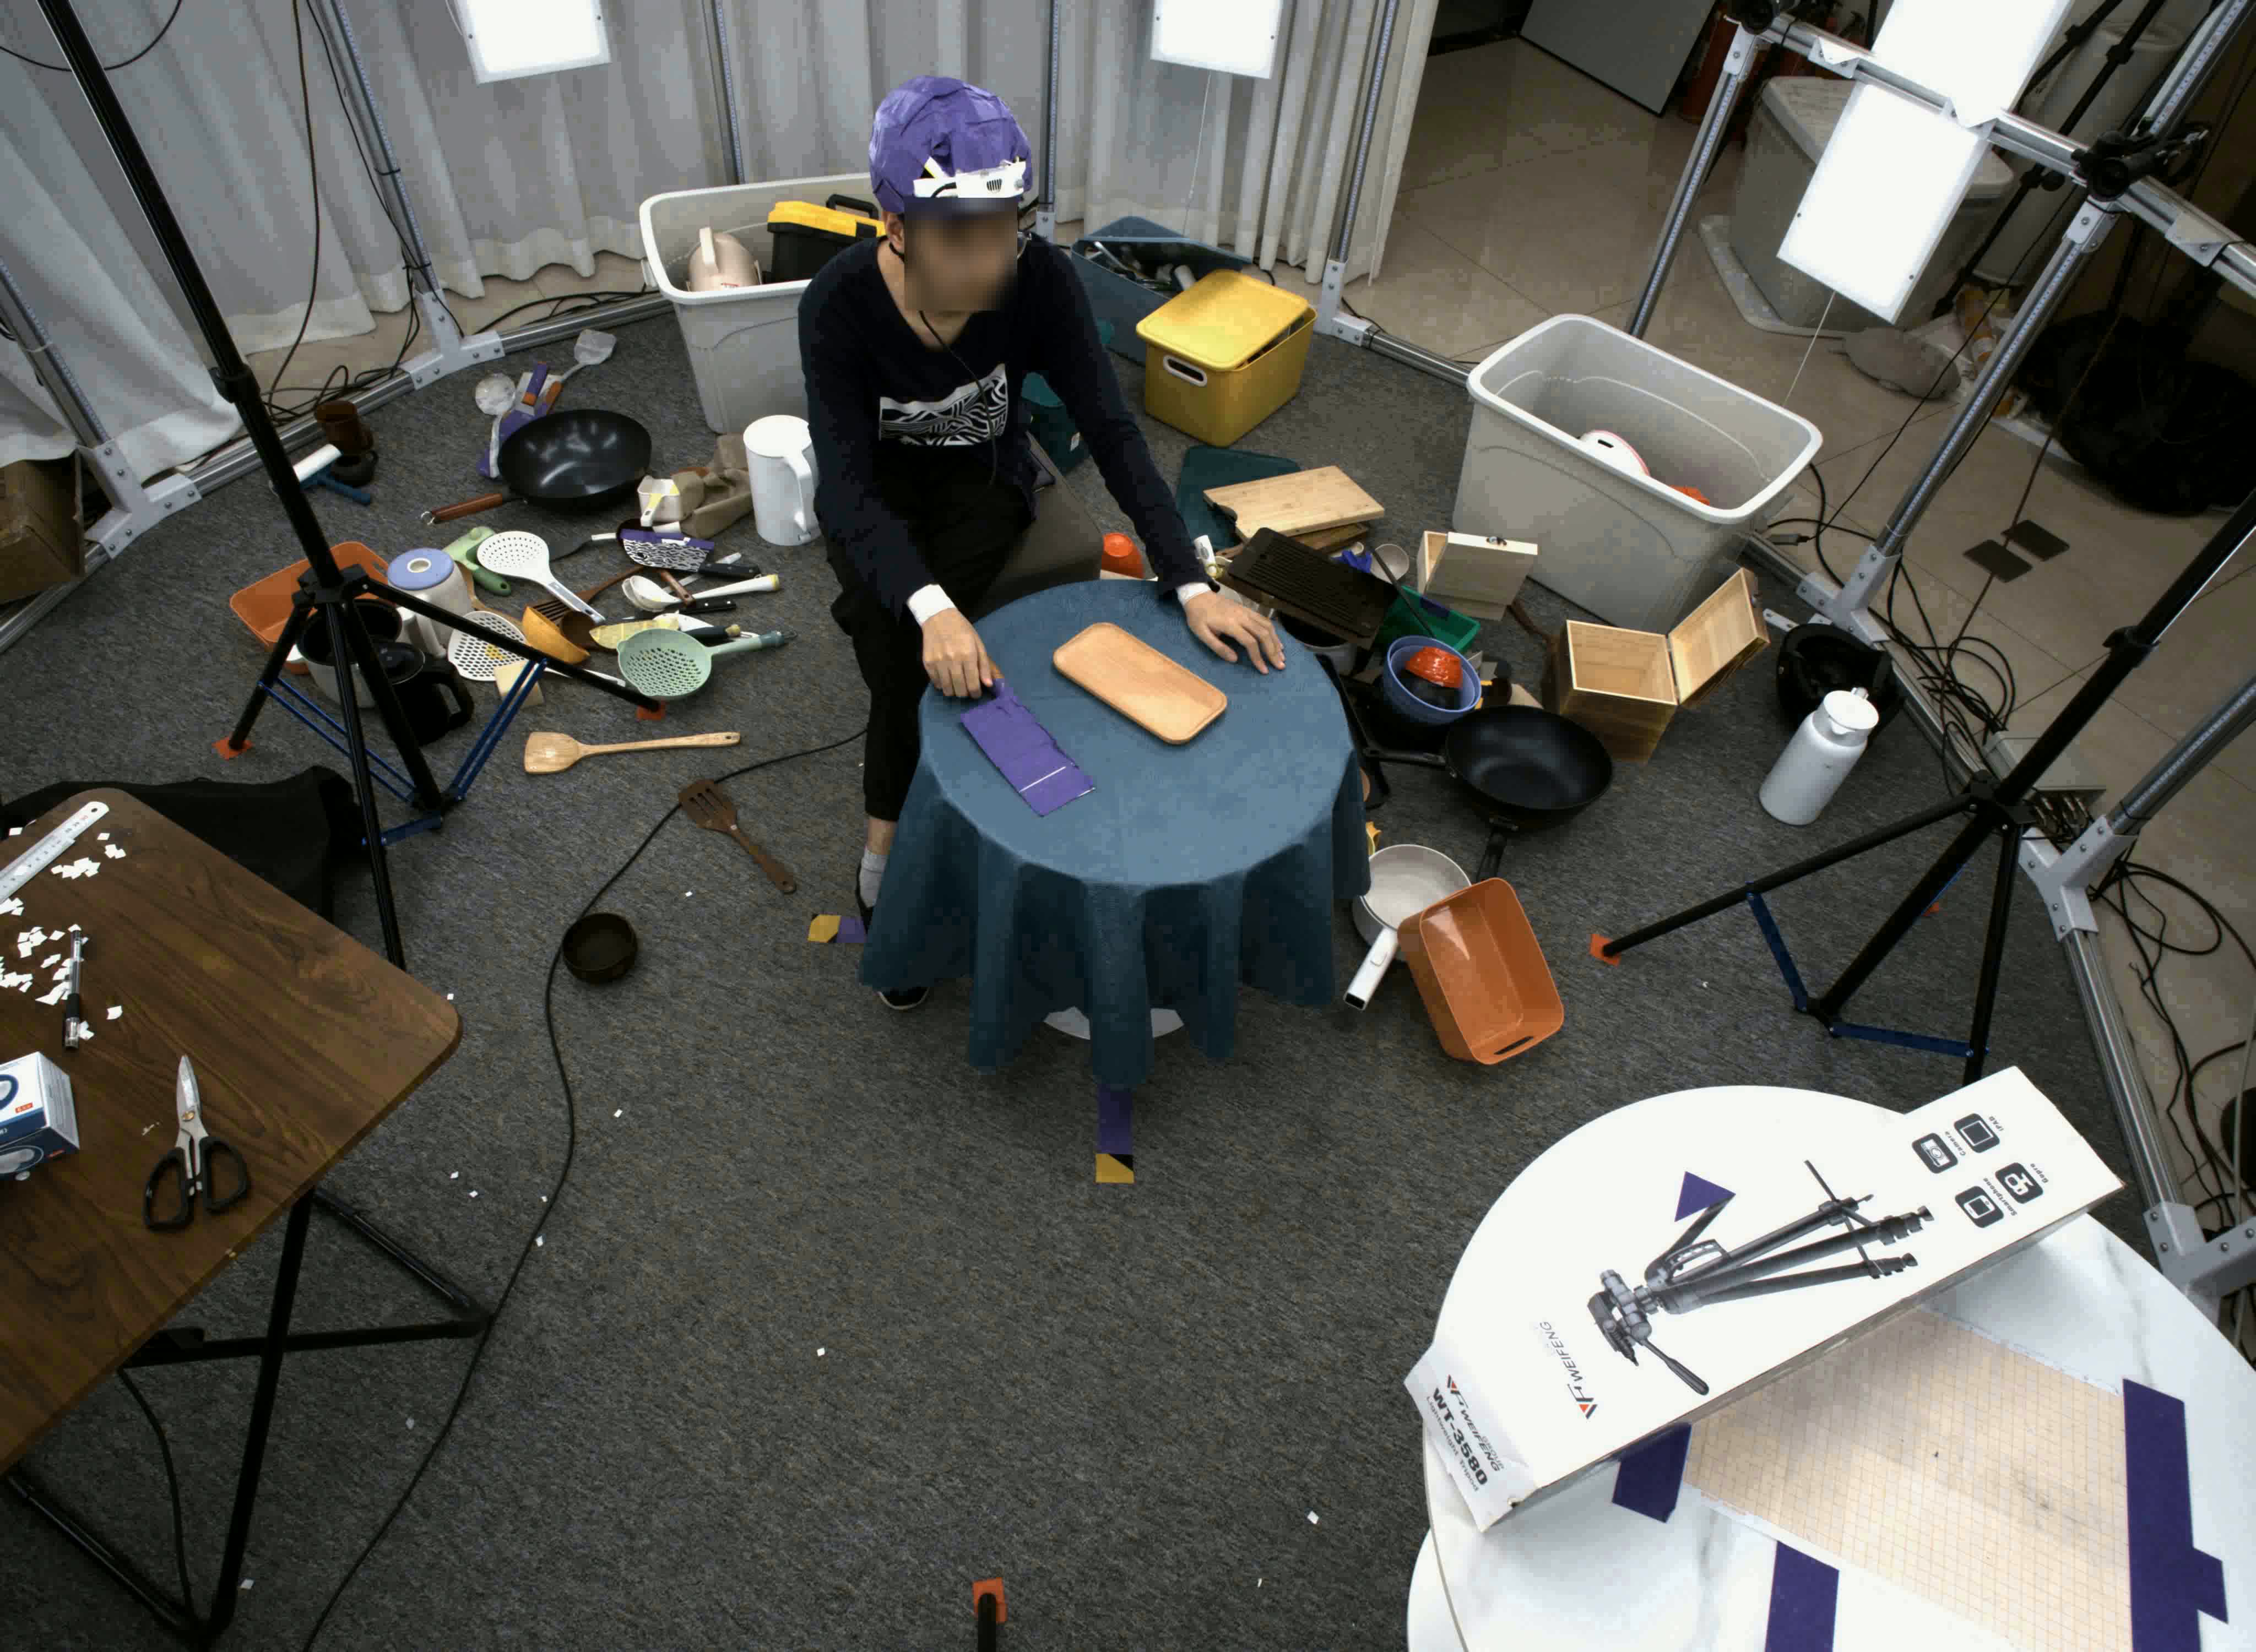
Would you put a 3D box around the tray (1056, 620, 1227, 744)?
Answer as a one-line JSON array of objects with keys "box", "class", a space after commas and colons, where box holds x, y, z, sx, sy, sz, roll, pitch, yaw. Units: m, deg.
[{"box": [0.017, -0.209, 1.839, 0.254, 0.022, 0.132, 37, 54, 26], "class": "tray"}]

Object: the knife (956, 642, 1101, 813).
[{"box": [-0.166, -0.139, 1.759, 0.104, 0.031, 0.321, -27, 56, -25], "class": "knife"}]
